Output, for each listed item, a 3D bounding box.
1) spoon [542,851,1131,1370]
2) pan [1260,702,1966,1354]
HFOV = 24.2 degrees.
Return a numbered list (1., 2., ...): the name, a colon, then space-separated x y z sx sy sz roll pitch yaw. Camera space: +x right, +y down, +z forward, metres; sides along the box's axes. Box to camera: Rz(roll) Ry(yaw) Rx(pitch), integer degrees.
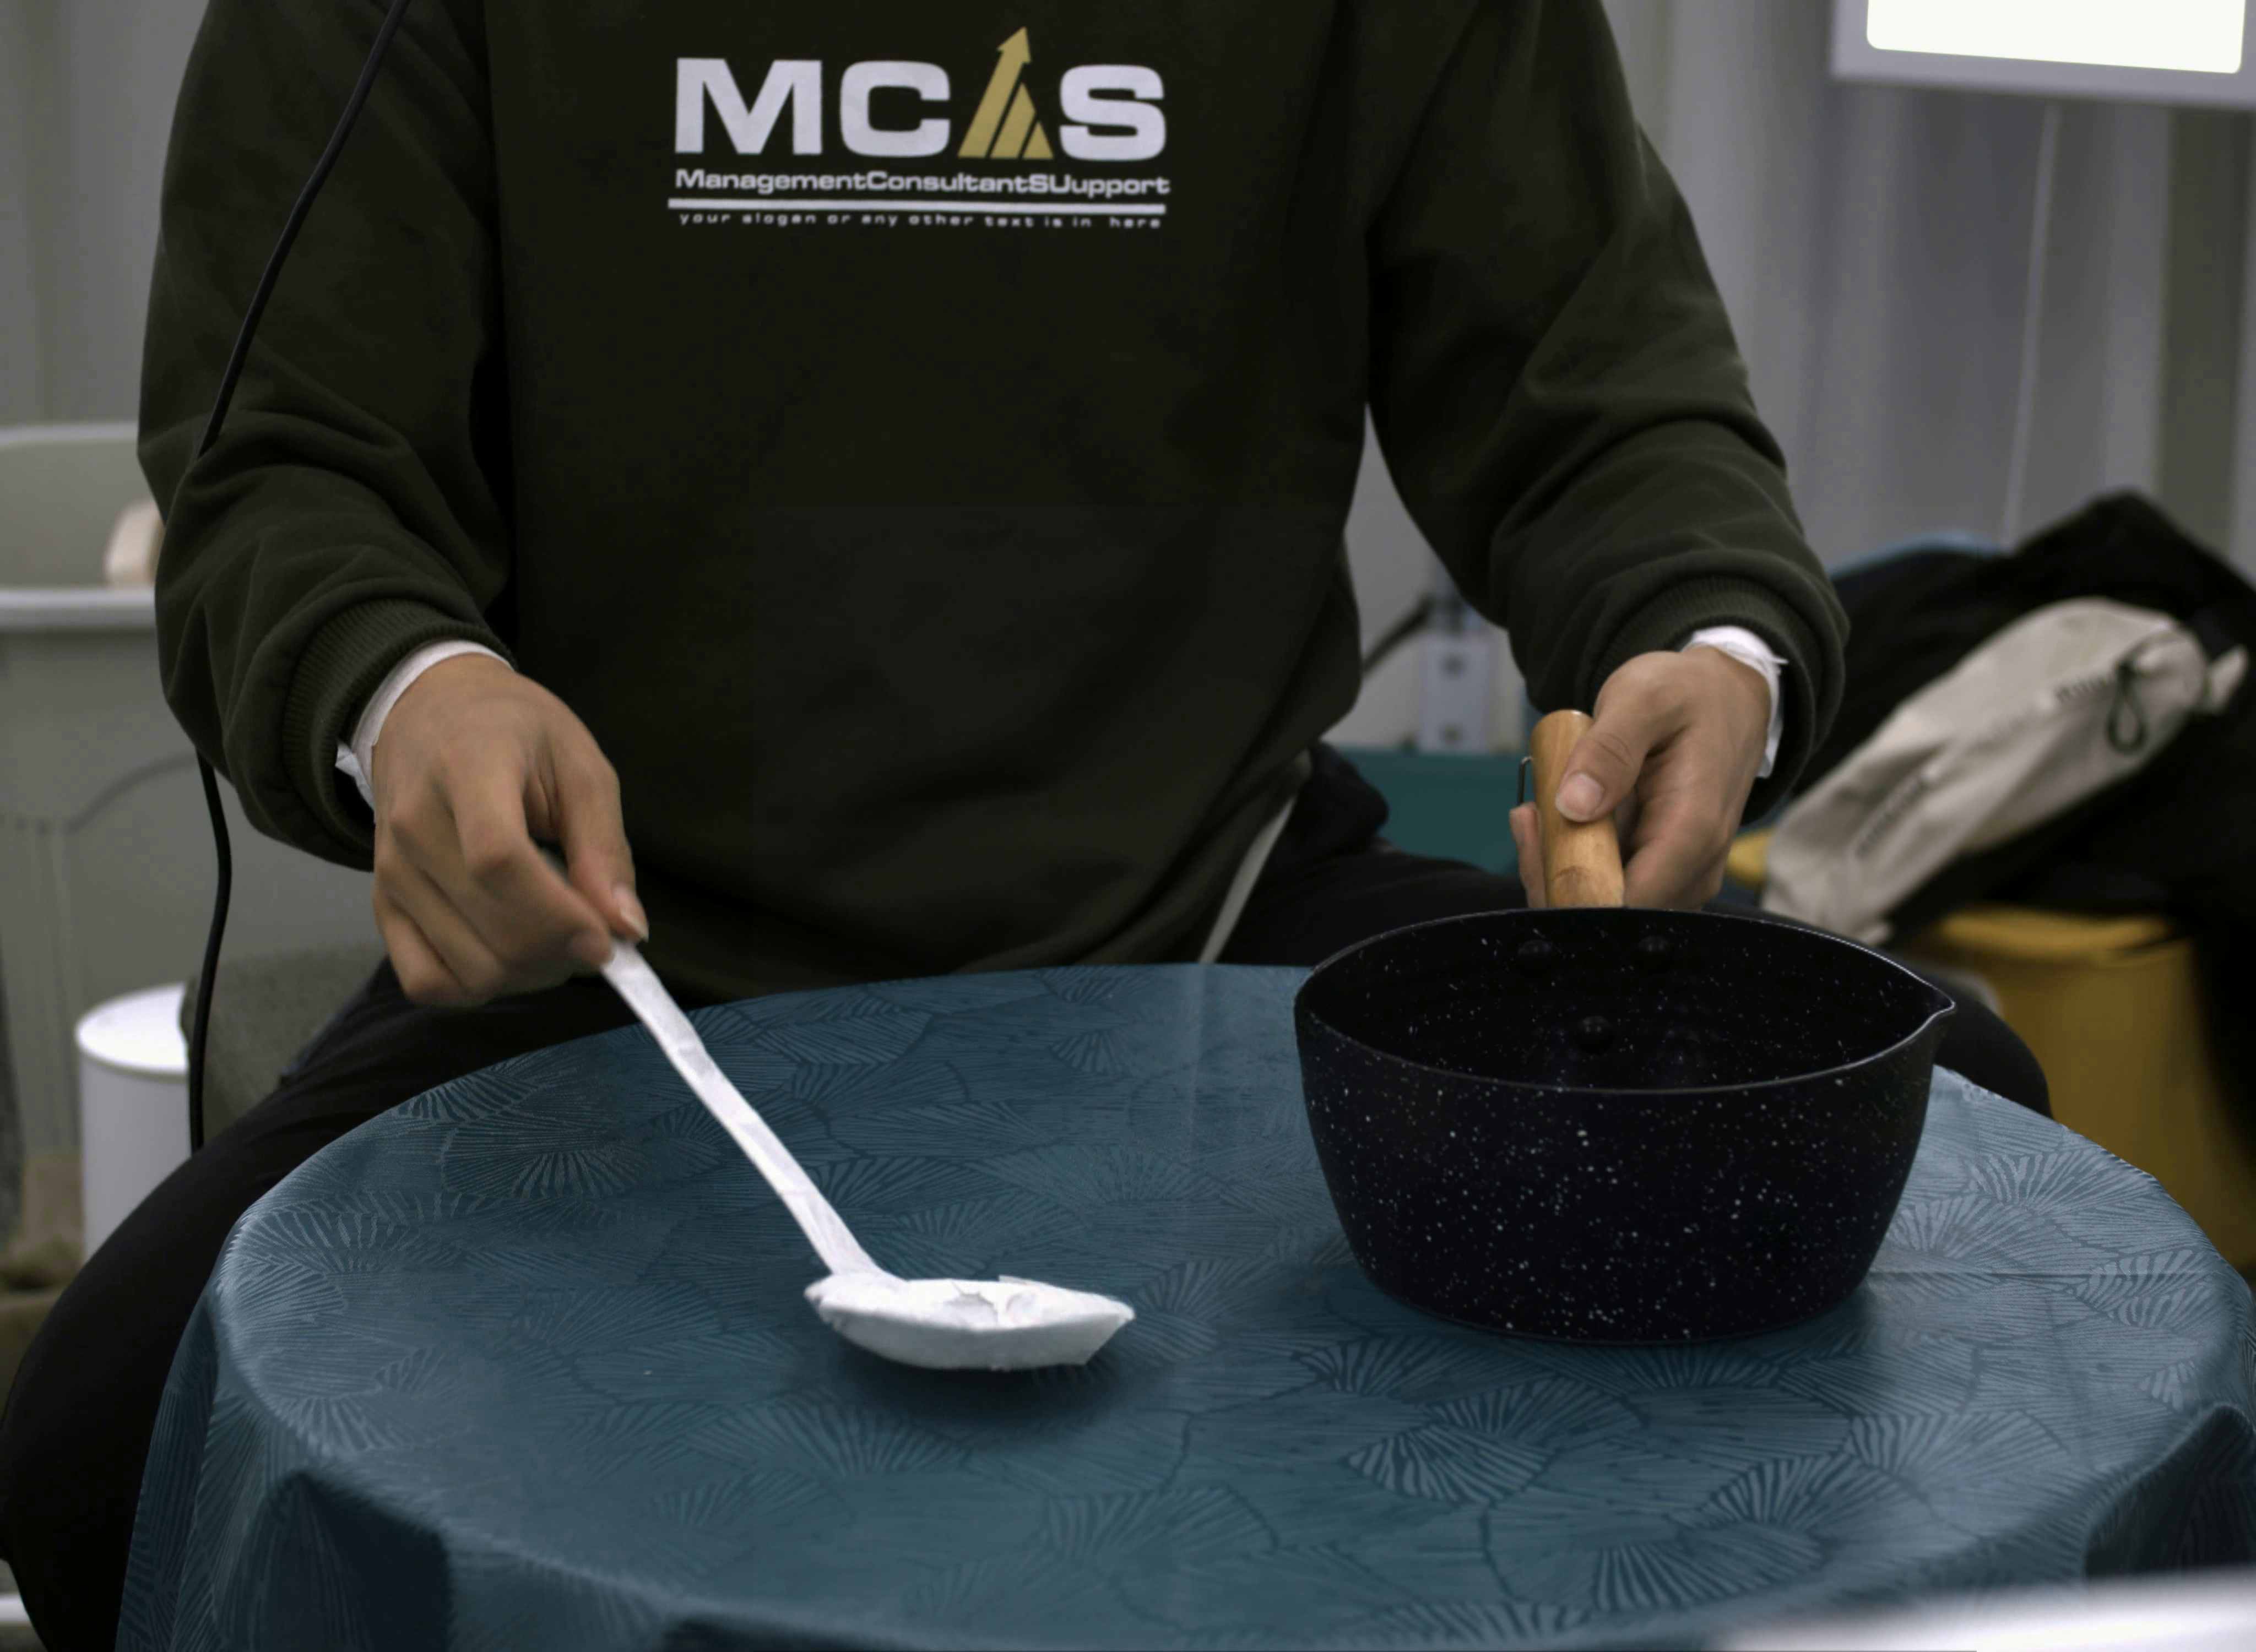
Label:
1. spoon: -0.093 0.073 1.531 0.101 0.059 0.274 3 36 -41
2. pan: 0.143 0.057 1.628 0.207 0.109 0.341 -1 17 0
